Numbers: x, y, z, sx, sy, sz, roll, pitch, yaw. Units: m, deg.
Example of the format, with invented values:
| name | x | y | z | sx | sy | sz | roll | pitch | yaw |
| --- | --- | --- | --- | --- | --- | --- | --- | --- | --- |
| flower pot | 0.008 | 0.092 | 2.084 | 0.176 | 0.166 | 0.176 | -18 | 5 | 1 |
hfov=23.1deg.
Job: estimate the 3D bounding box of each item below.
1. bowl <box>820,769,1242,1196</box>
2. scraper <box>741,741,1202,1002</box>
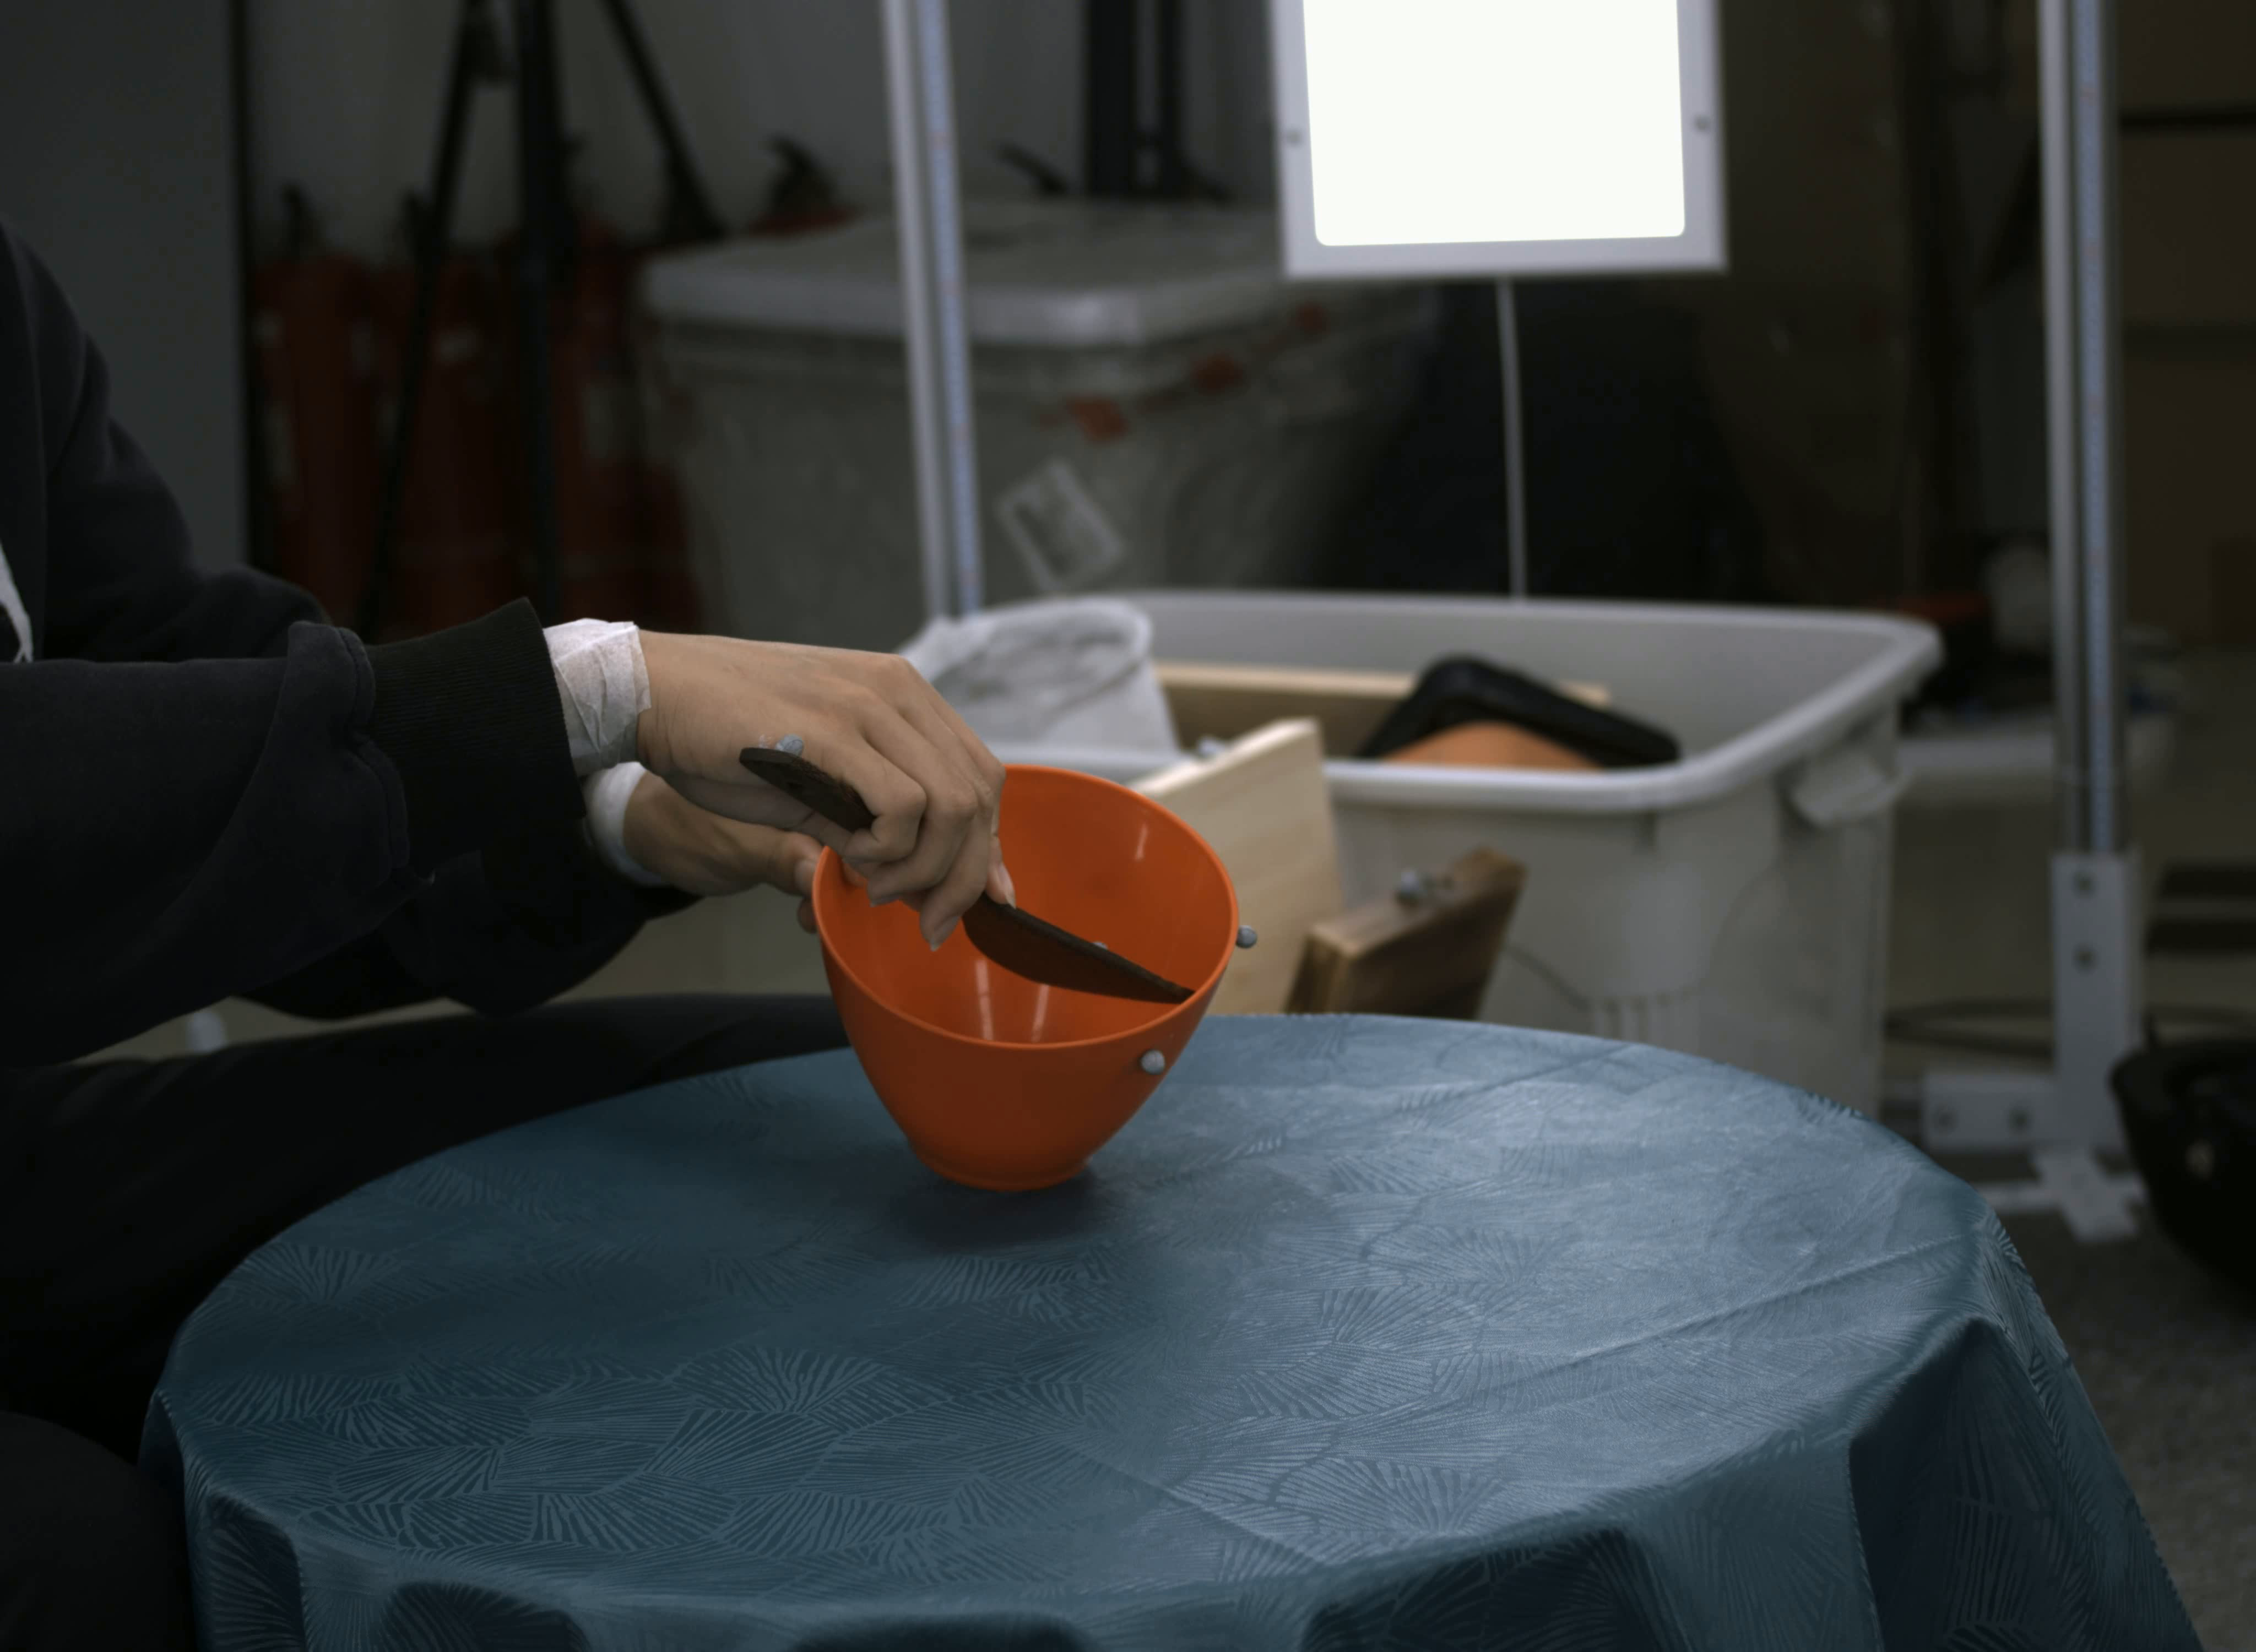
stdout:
| name | x | y | z | sx | sy | sz | roll | pitch | yaw |
| --- | --- | --- | --- | --- | --- | --- | --- | --- | --- |
| bowl | -0.038 | 0.062 | 1.920 | 0.147 | 0.105 | 0.147 | 4 | 30 | -4 |
| scraper | -0.058 | 0.018 | 1.839 | 0.077 | 0.011 | 0.207 | 6 | -21 | 42 |
